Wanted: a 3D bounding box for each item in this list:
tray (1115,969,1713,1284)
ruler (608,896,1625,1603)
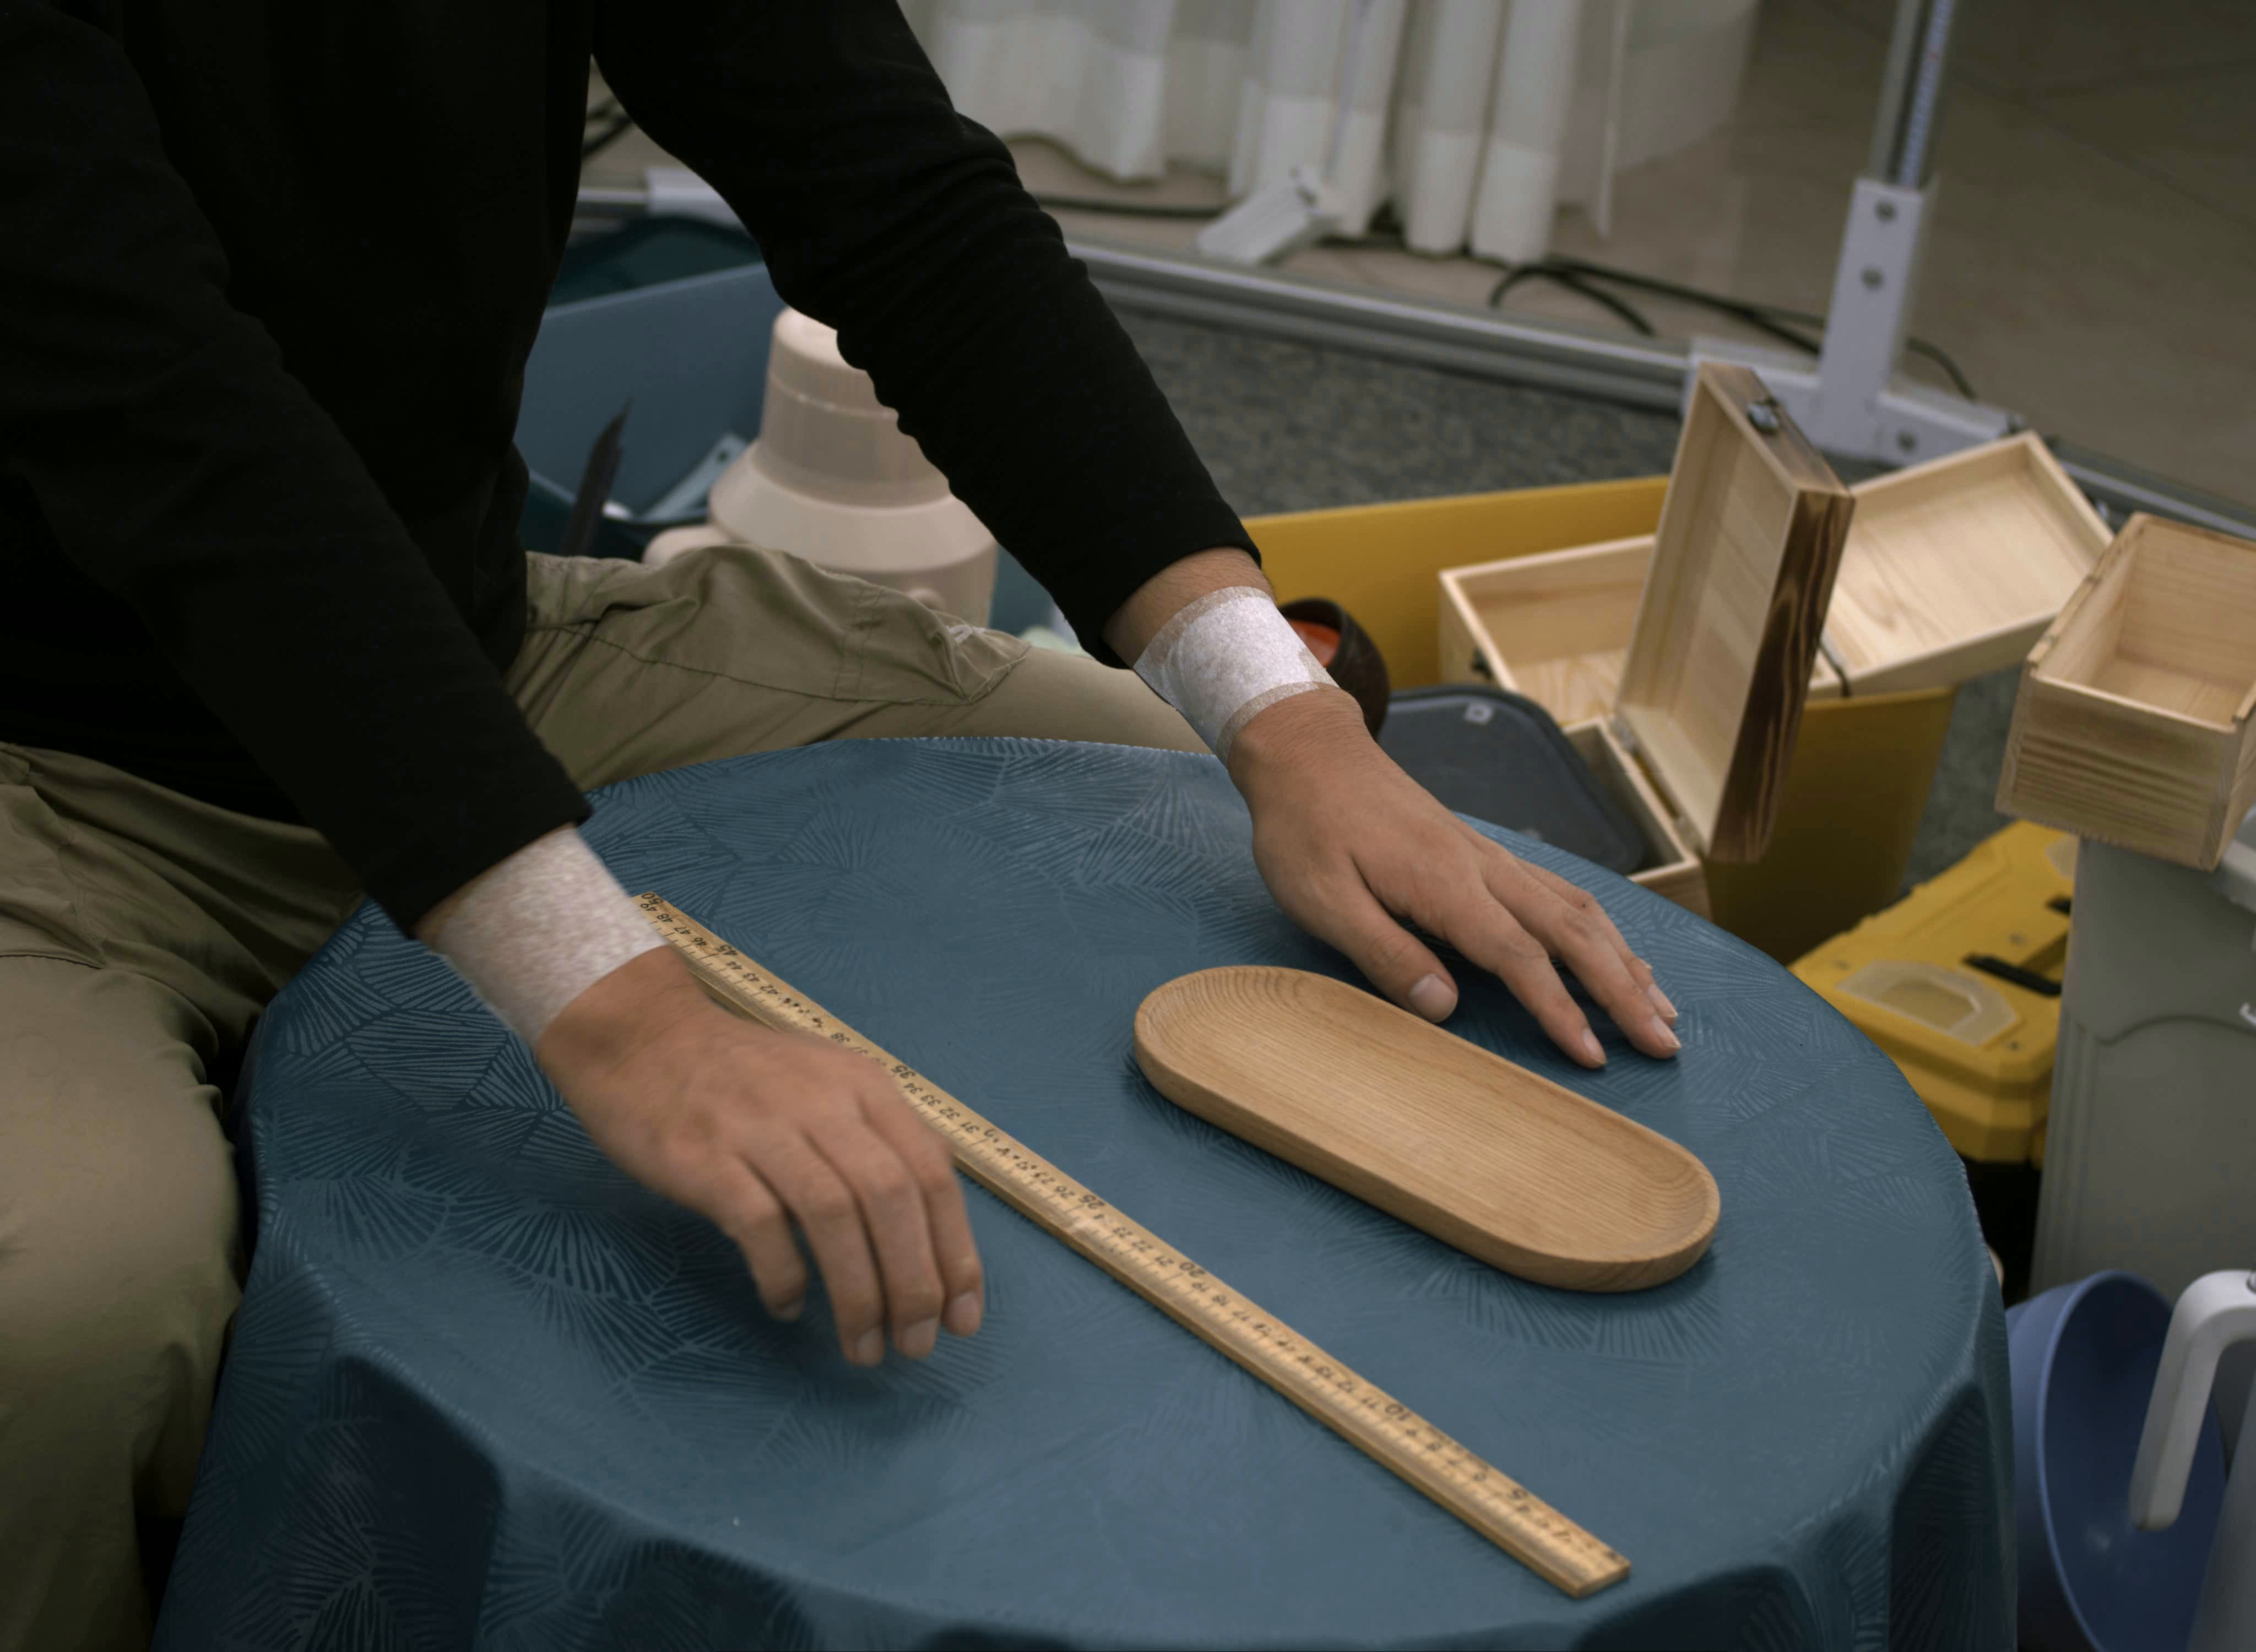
[{"bbox_3d":[0.097,0.103,1.846,0.232,0.020,0.101,22,29,32],"label":"tray"},{"bbox_3d":[-0.018,0.130,1.780,0.026,0.006,0.504,-15,34,-39],"label":"ruler"}]
